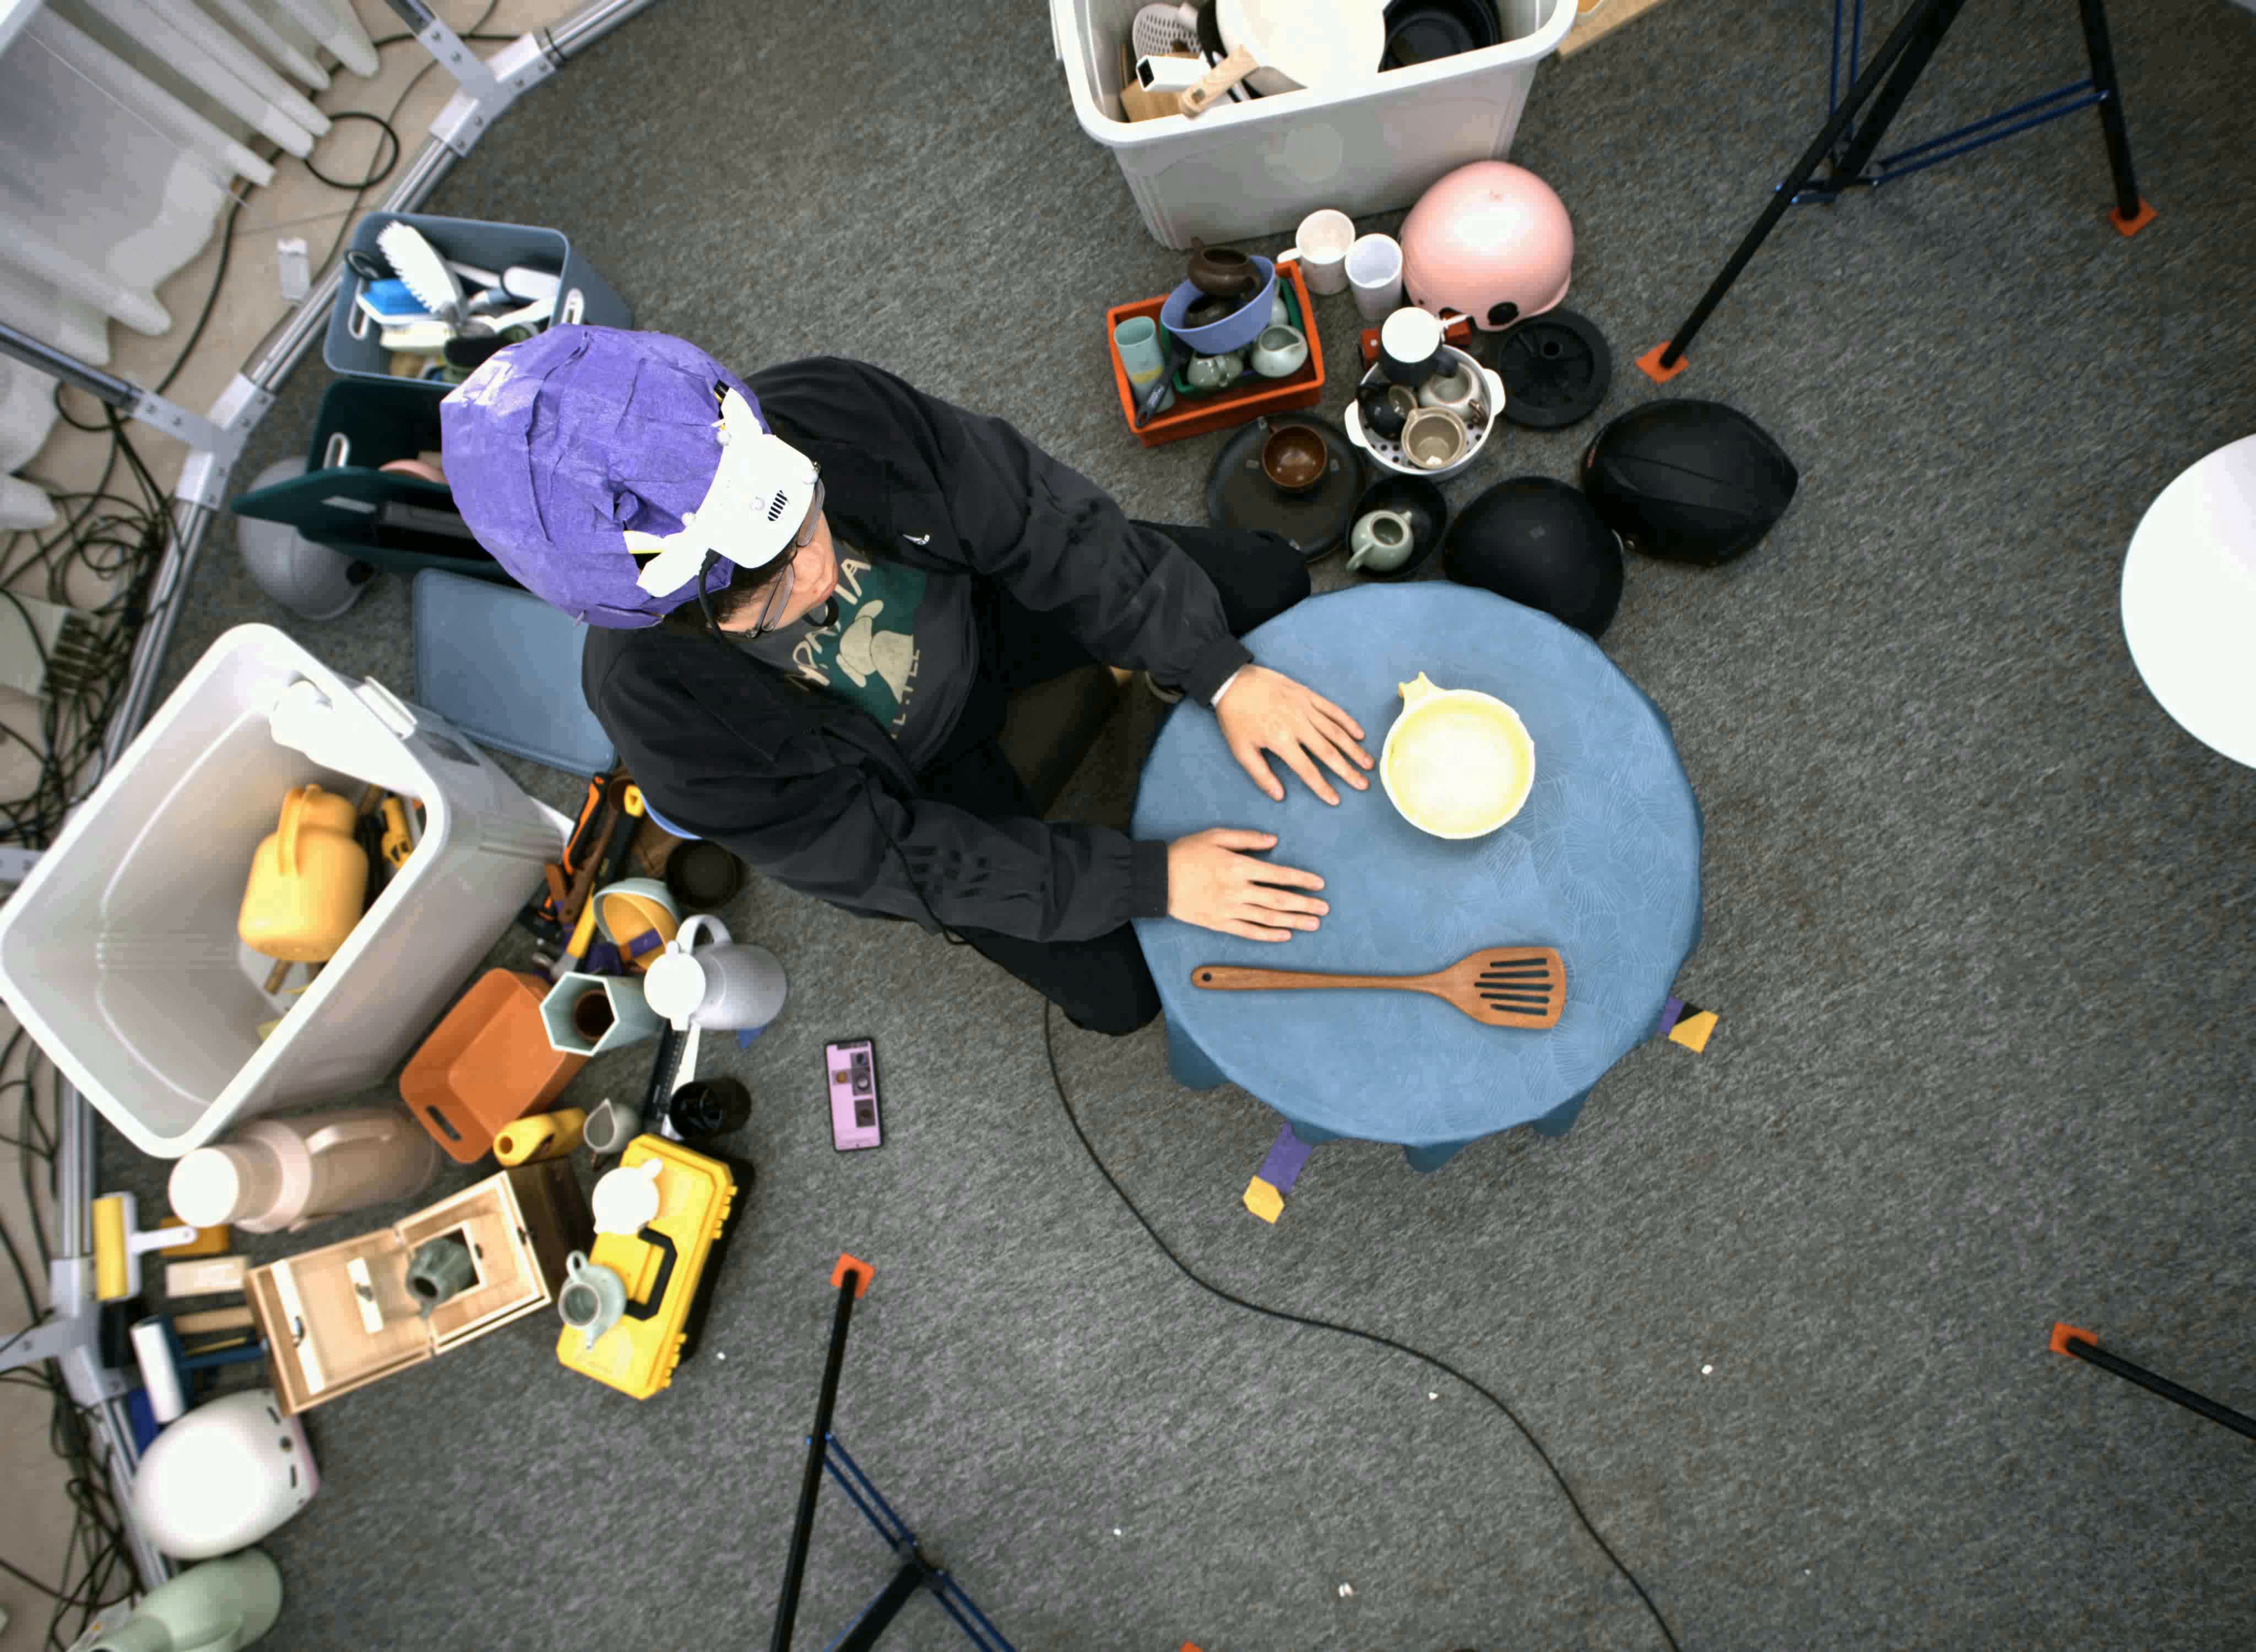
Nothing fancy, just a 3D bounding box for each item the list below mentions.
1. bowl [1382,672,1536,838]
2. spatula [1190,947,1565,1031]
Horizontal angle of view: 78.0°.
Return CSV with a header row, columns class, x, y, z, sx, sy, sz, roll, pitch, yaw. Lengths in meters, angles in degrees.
class,x,y,z,sx,sy,sz,roll,pitch,yaw
bowl,0.334,-0.076,1.421,0.154,0.074,0.178,-32,81,7
spatula,0.256,0.158,1.447,0.388,0.024,0.085,2,87,12
